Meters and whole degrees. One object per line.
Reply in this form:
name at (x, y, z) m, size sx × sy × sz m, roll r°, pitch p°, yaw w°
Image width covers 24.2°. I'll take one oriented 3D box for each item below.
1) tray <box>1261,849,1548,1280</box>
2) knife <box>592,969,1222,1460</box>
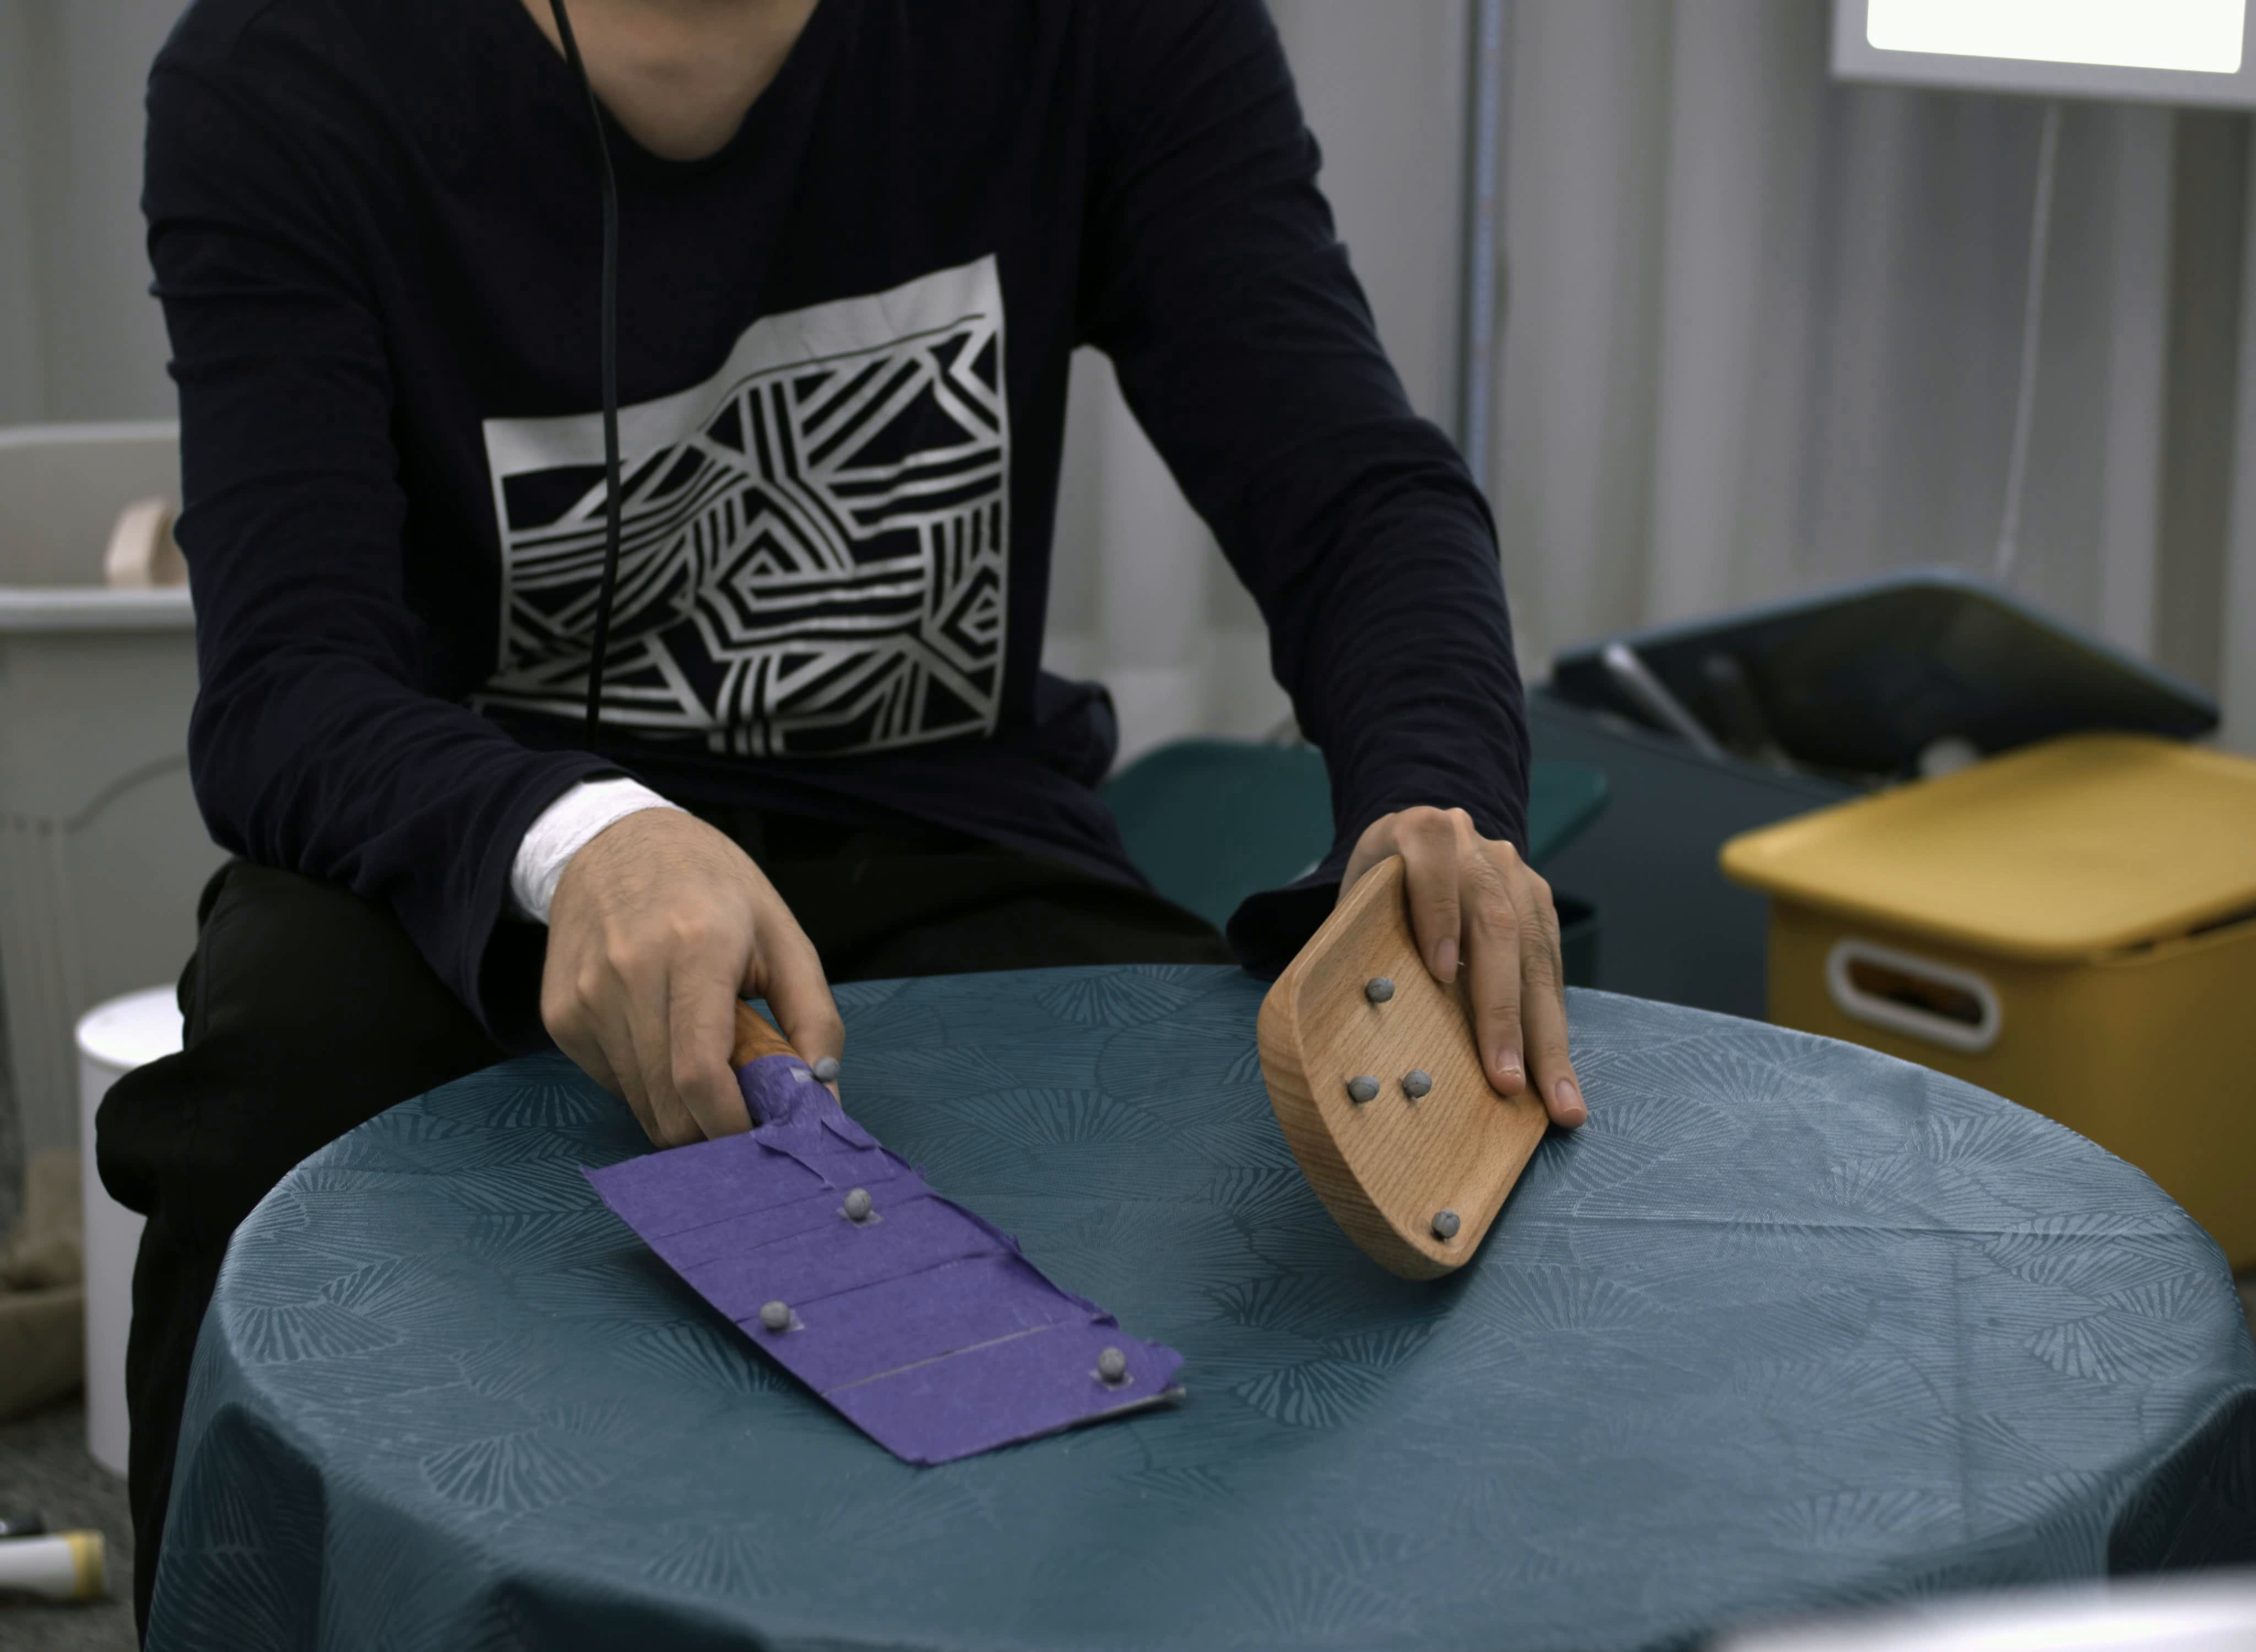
tray at (0.086, 0.072, 1.611) m, size 0.020 × 0.102 × 0.231 m, roll -29°, pitch 7°, yaw 17°
knife at (-0.098, 0.109, 1.545) m, size 0.104 × 0.032 × 0.311 m, roll -11°, pitch 23°, yaw -31°
